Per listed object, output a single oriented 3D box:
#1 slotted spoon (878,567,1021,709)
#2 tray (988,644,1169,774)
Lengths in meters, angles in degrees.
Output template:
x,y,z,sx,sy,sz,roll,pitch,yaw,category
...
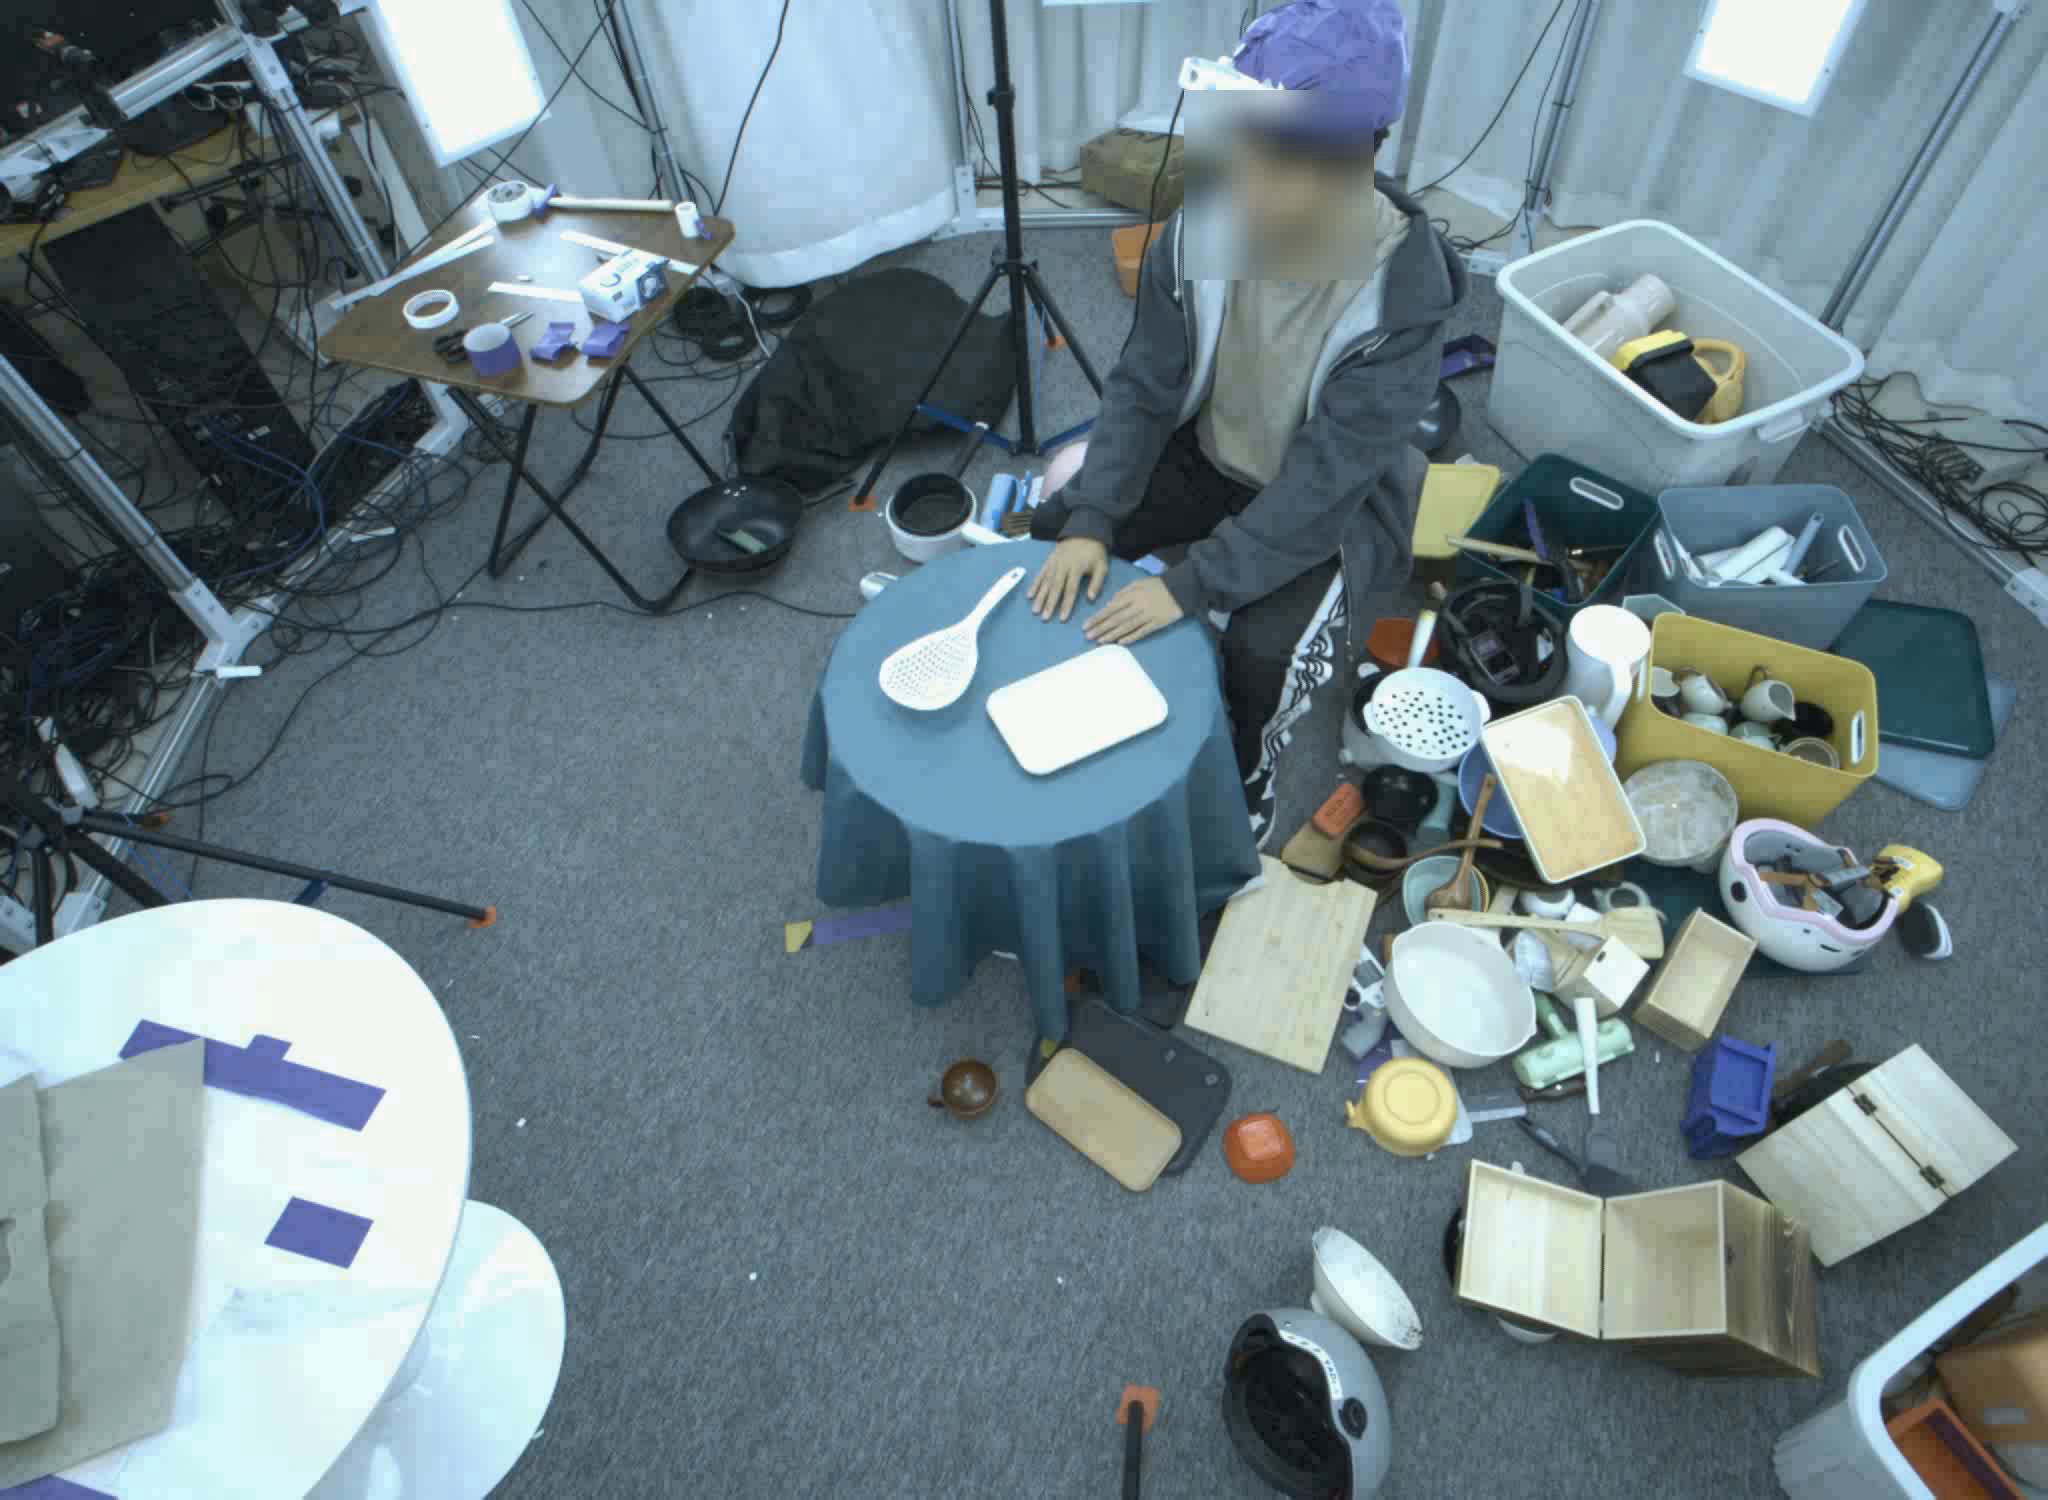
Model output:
x,y,z,sx,sy,sz,roll,pitch,yaw,category
-0.091,-0.182,1.896,0.135,0.051,0.349,23,59,19,slotted spoon
0.080,-0.061,1.820,0.241,0.017,0.168,-23,56,-14,tray
